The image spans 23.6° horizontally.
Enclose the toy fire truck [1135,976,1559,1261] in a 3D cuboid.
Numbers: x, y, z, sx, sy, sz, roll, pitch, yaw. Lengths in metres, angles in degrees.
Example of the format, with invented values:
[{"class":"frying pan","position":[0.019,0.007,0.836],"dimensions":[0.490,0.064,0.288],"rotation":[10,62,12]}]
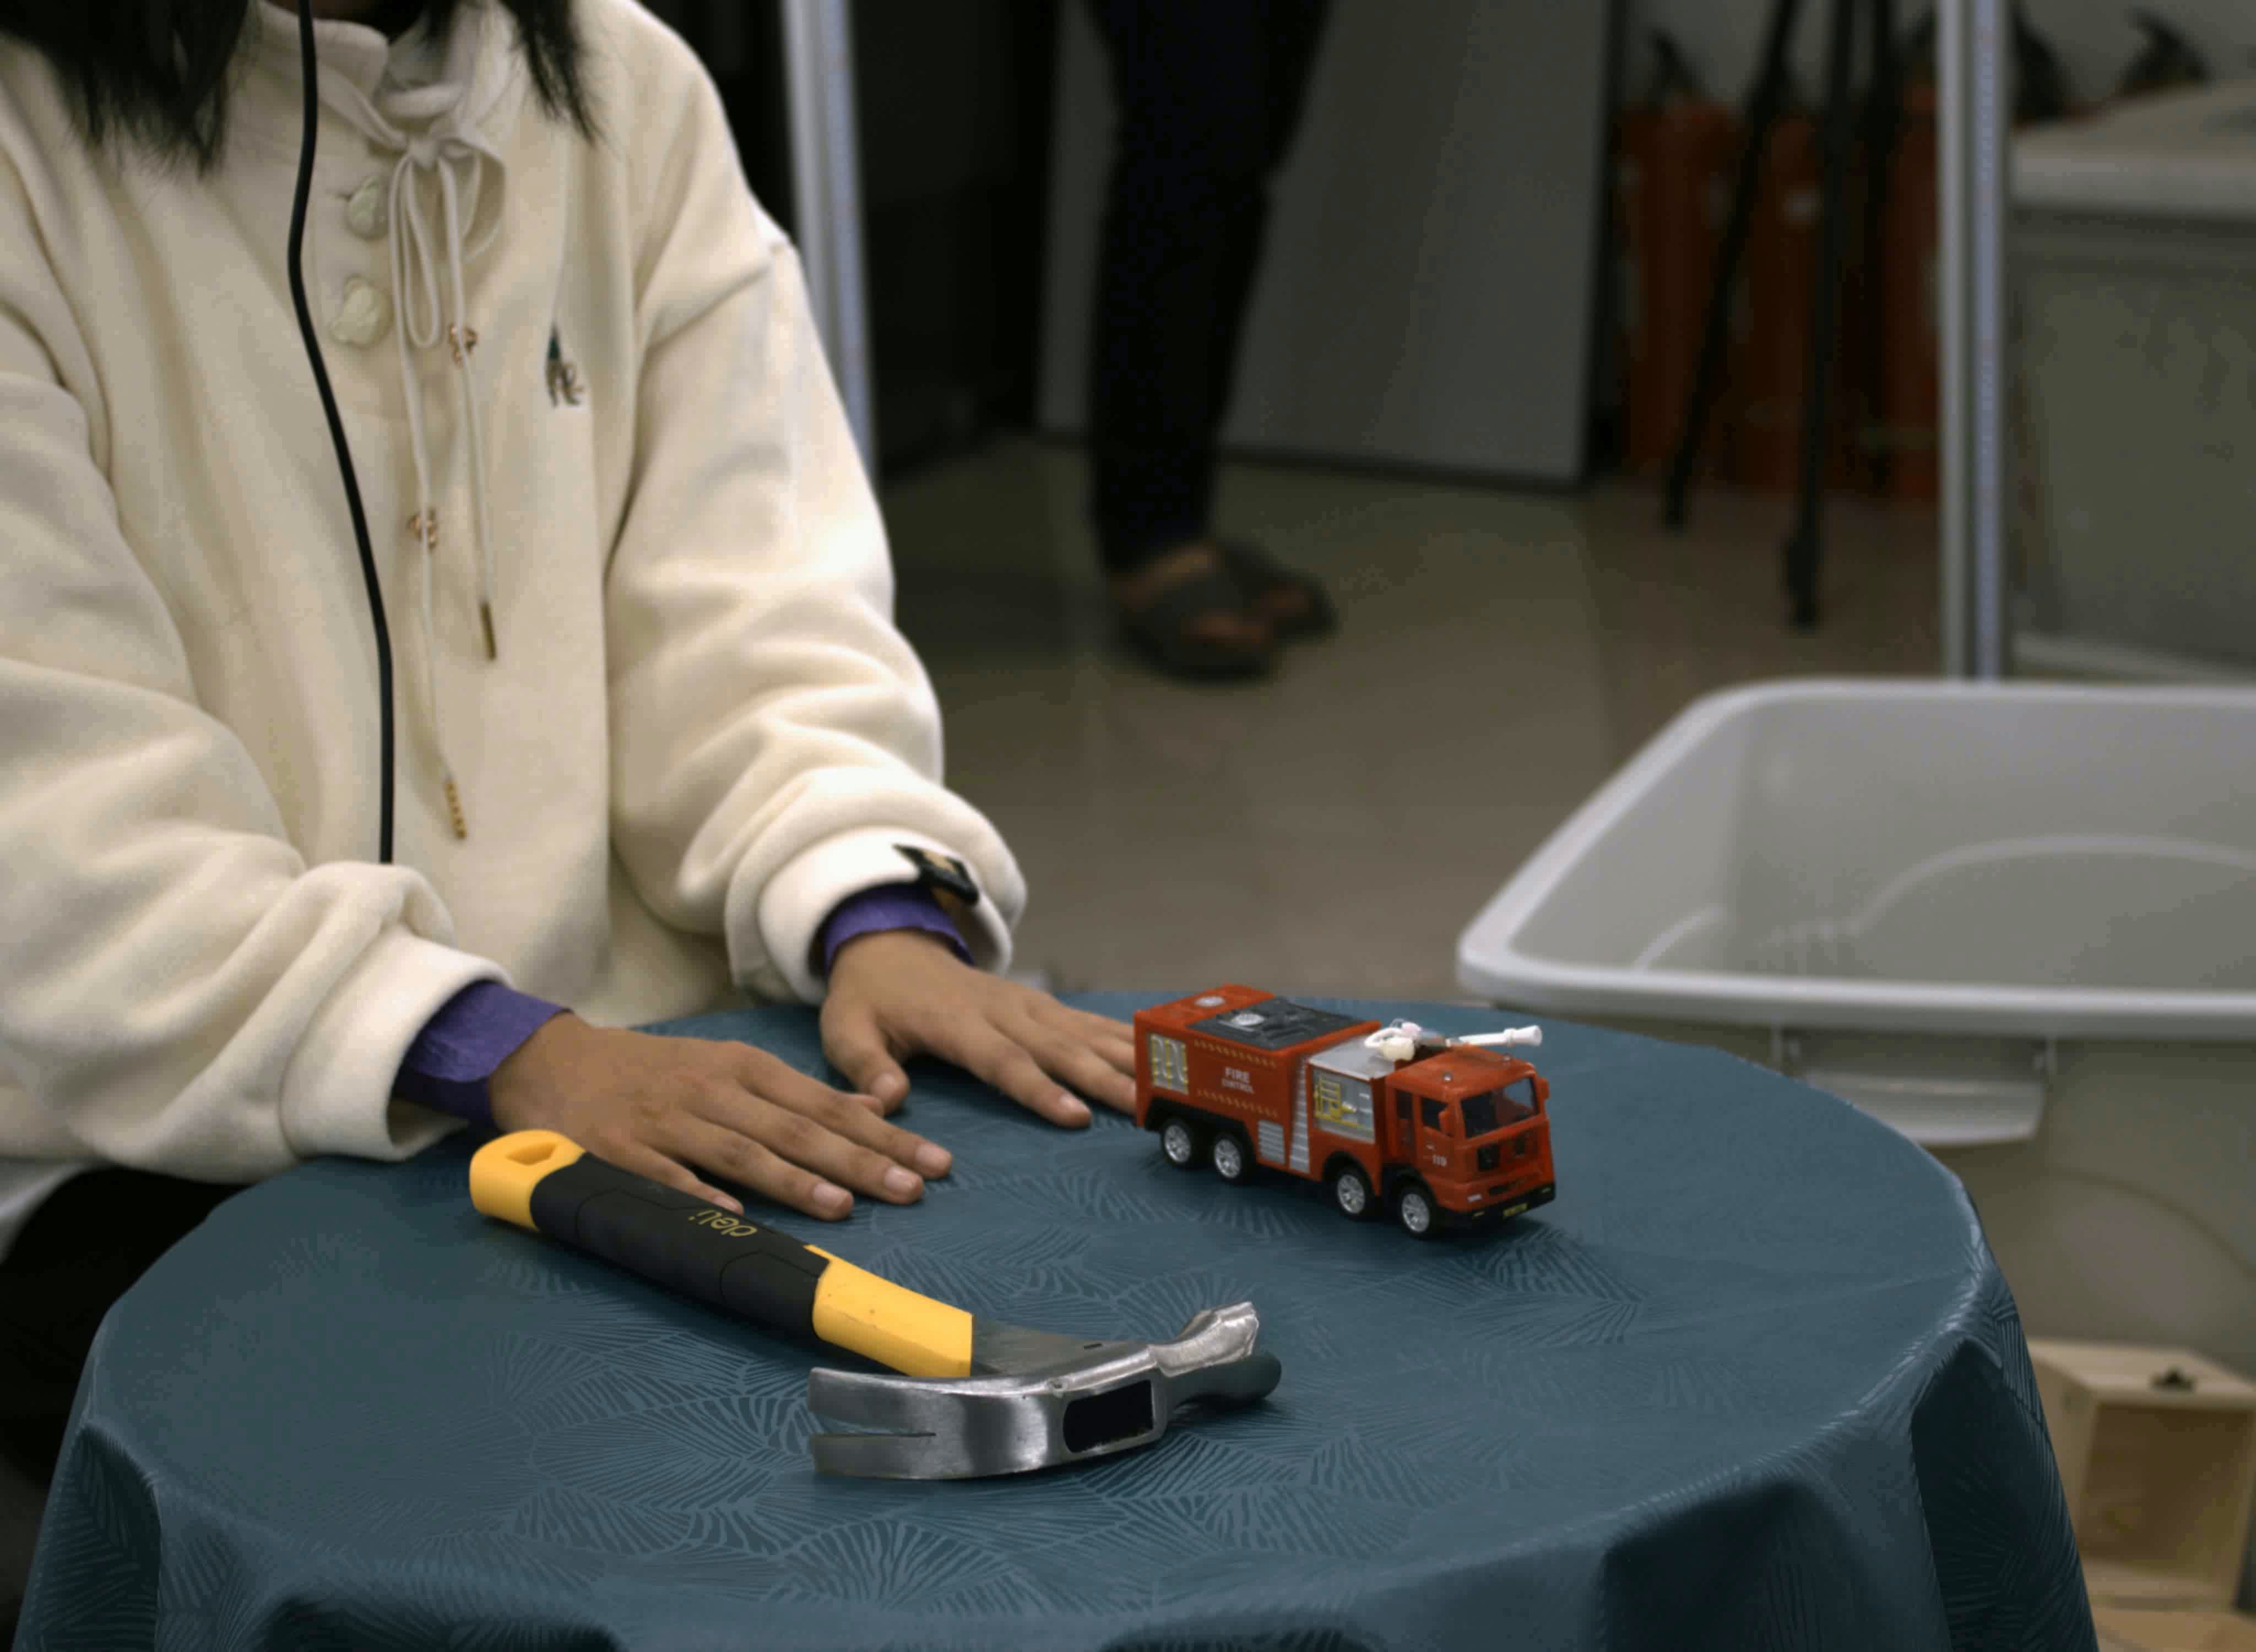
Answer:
[{"class":"toy fire truck","position":[0.070,0.091,1.748],"dimensions":[0.053,0.071,0.169],"rotation":[-14,16,-38]}]

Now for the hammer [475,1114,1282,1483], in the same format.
[{"class":"hammer","position":[-0.104,0.137,1.657],"dimensions":[0.128,0.032,0.342],"rotation":[-15,18,-33]}]
